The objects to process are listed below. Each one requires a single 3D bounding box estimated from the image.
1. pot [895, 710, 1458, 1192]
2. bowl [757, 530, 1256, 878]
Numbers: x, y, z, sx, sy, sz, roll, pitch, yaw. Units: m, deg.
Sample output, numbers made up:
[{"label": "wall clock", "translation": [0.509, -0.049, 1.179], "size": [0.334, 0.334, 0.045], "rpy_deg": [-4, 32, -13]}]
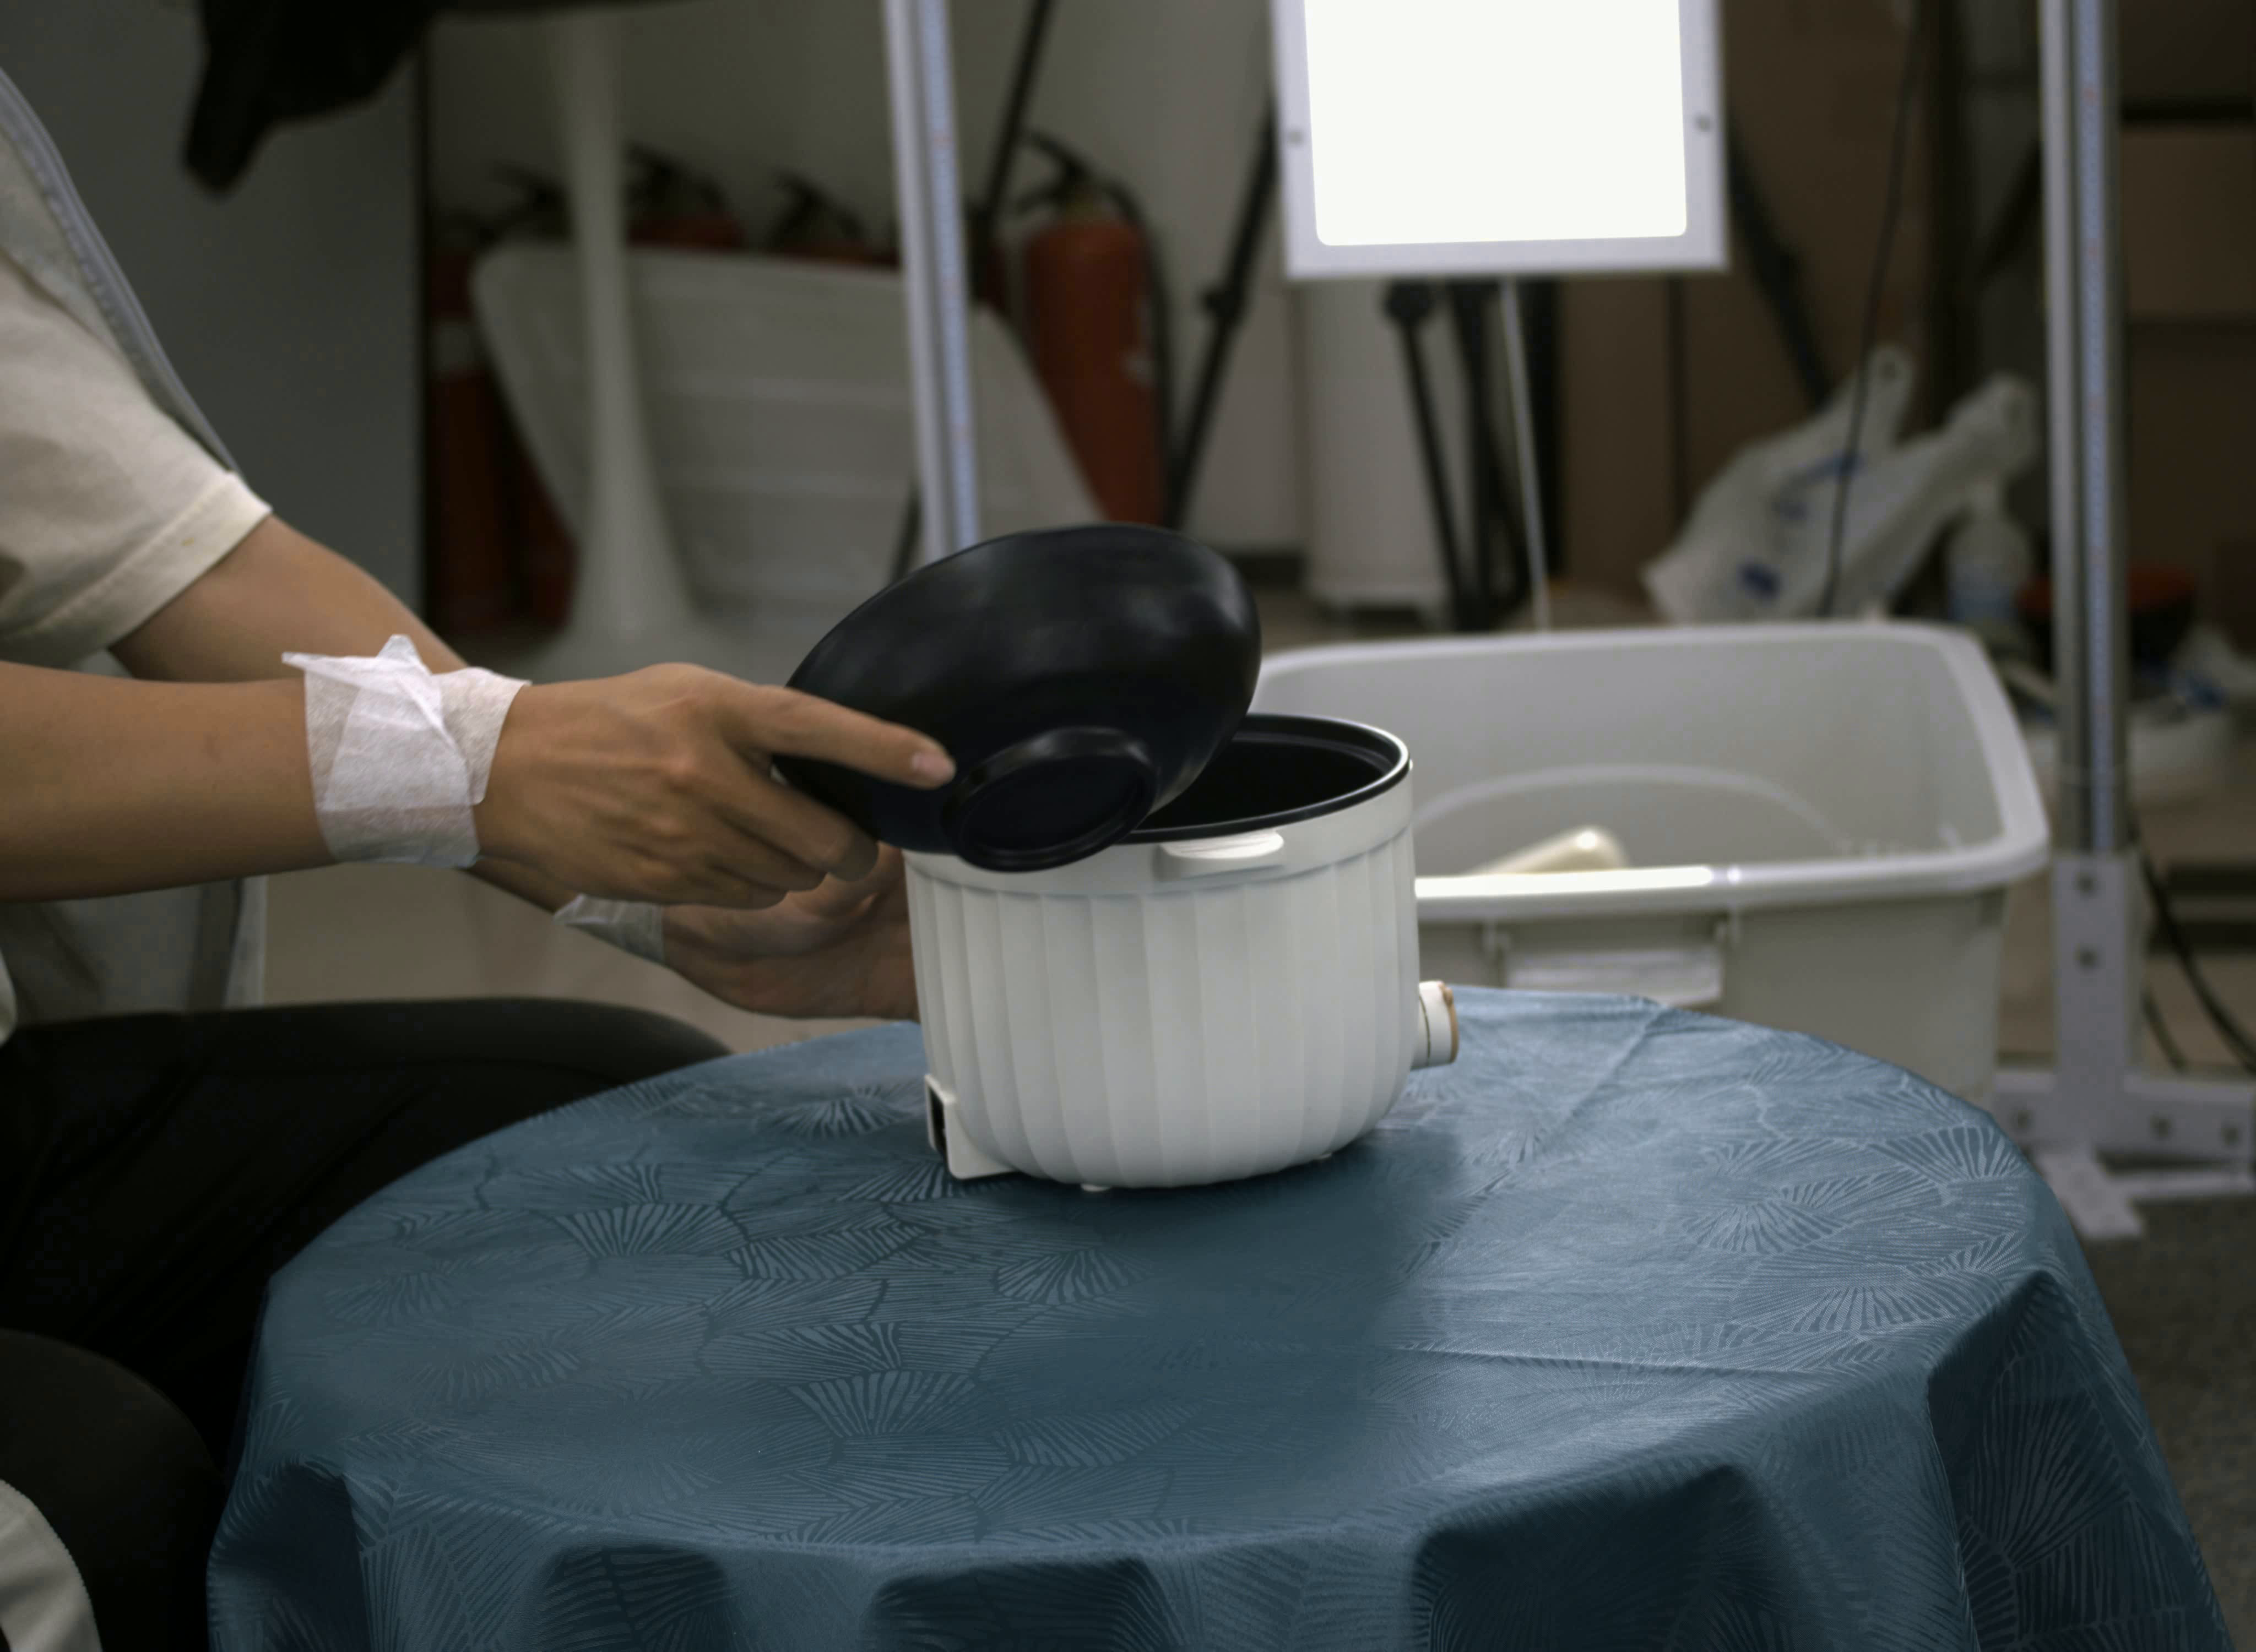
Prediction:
[{"label": "pot", "translation": [0.018, 0.044, 1.938], "size": [0.188, 0.143, 0.242], "rpy_deg": [-11, 15, -11]}, {"label": "bowl", "translation": [-0.032, -0.029, 1.754], "size": [0.167, 0.067, 0.139], "rpy_deg": [-9, -30, -18]}]
